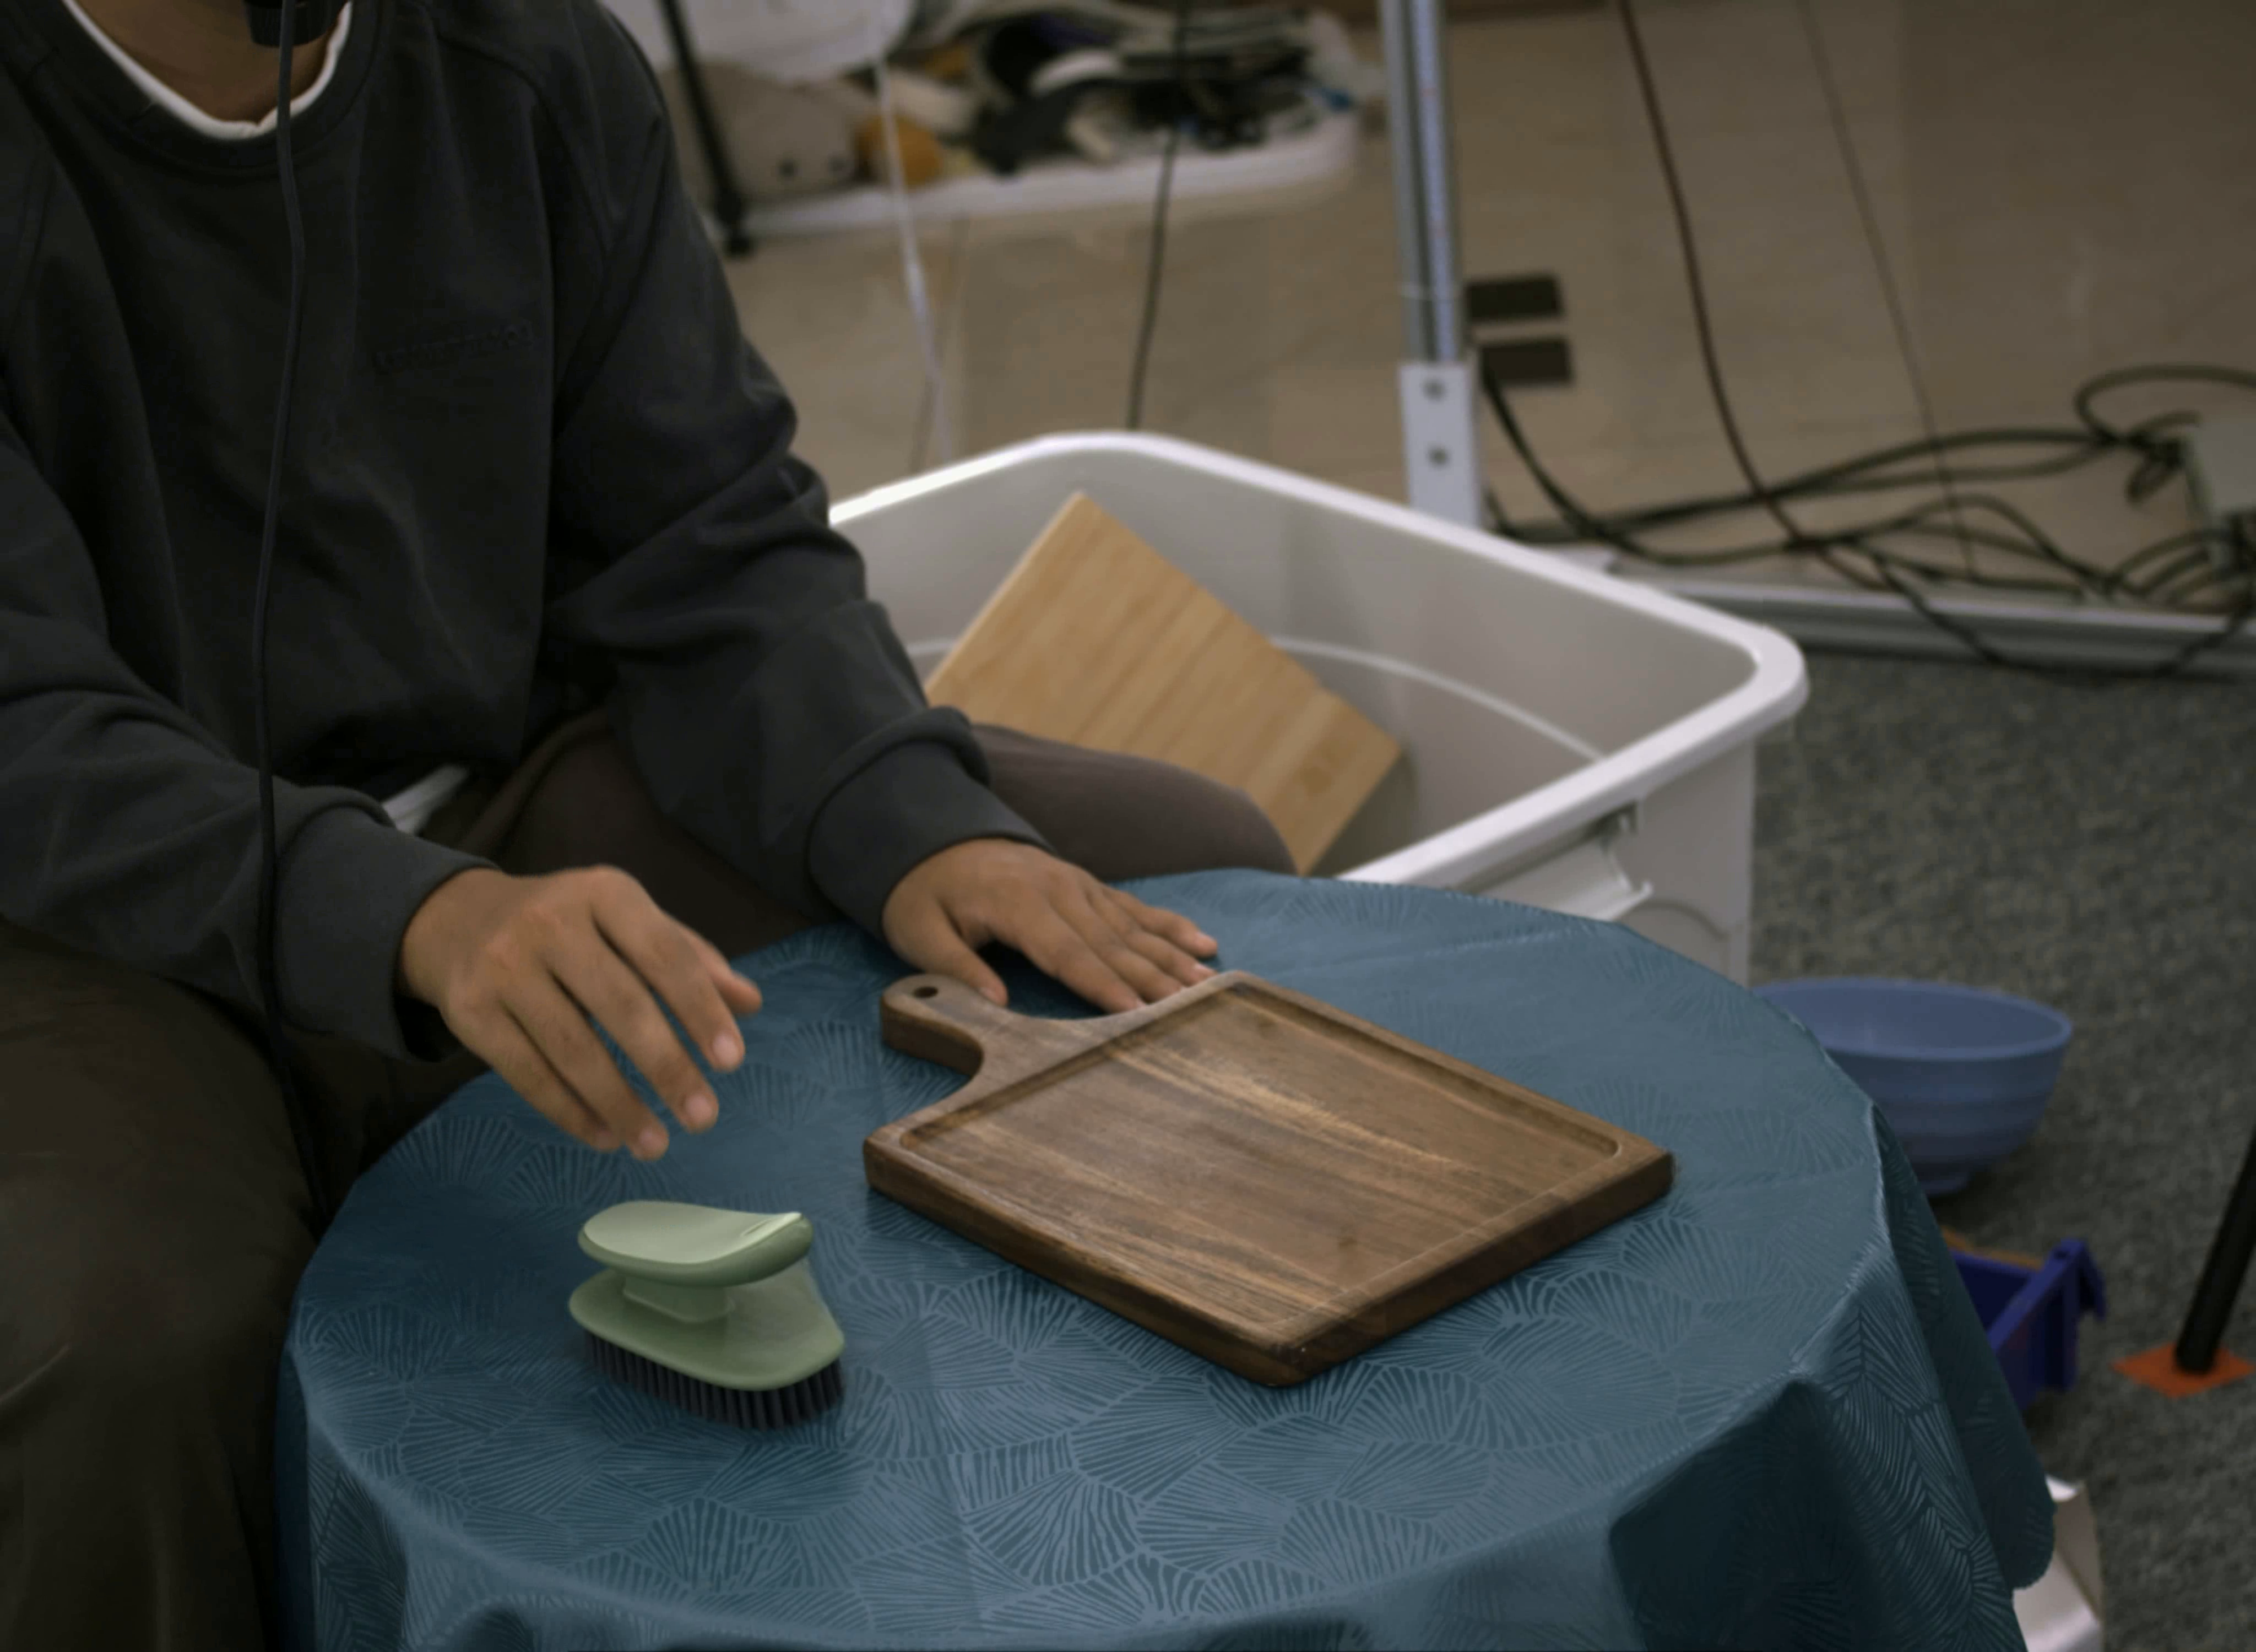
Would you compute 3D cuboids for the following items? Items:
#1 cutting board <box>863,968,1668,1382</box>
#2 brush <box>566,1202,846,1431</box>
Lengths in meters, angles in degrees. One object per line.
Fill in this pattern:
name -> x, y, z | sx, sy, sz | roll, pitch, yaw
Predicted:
cutting board -> 0.019, 0.114, 2.173 | 0.199, 0.023, 0.349 | -23, 29, -33
brush -> -0.152, 0.174, 2.045 | 0.123, 0.076, 0.059 | 0, 21, 47
